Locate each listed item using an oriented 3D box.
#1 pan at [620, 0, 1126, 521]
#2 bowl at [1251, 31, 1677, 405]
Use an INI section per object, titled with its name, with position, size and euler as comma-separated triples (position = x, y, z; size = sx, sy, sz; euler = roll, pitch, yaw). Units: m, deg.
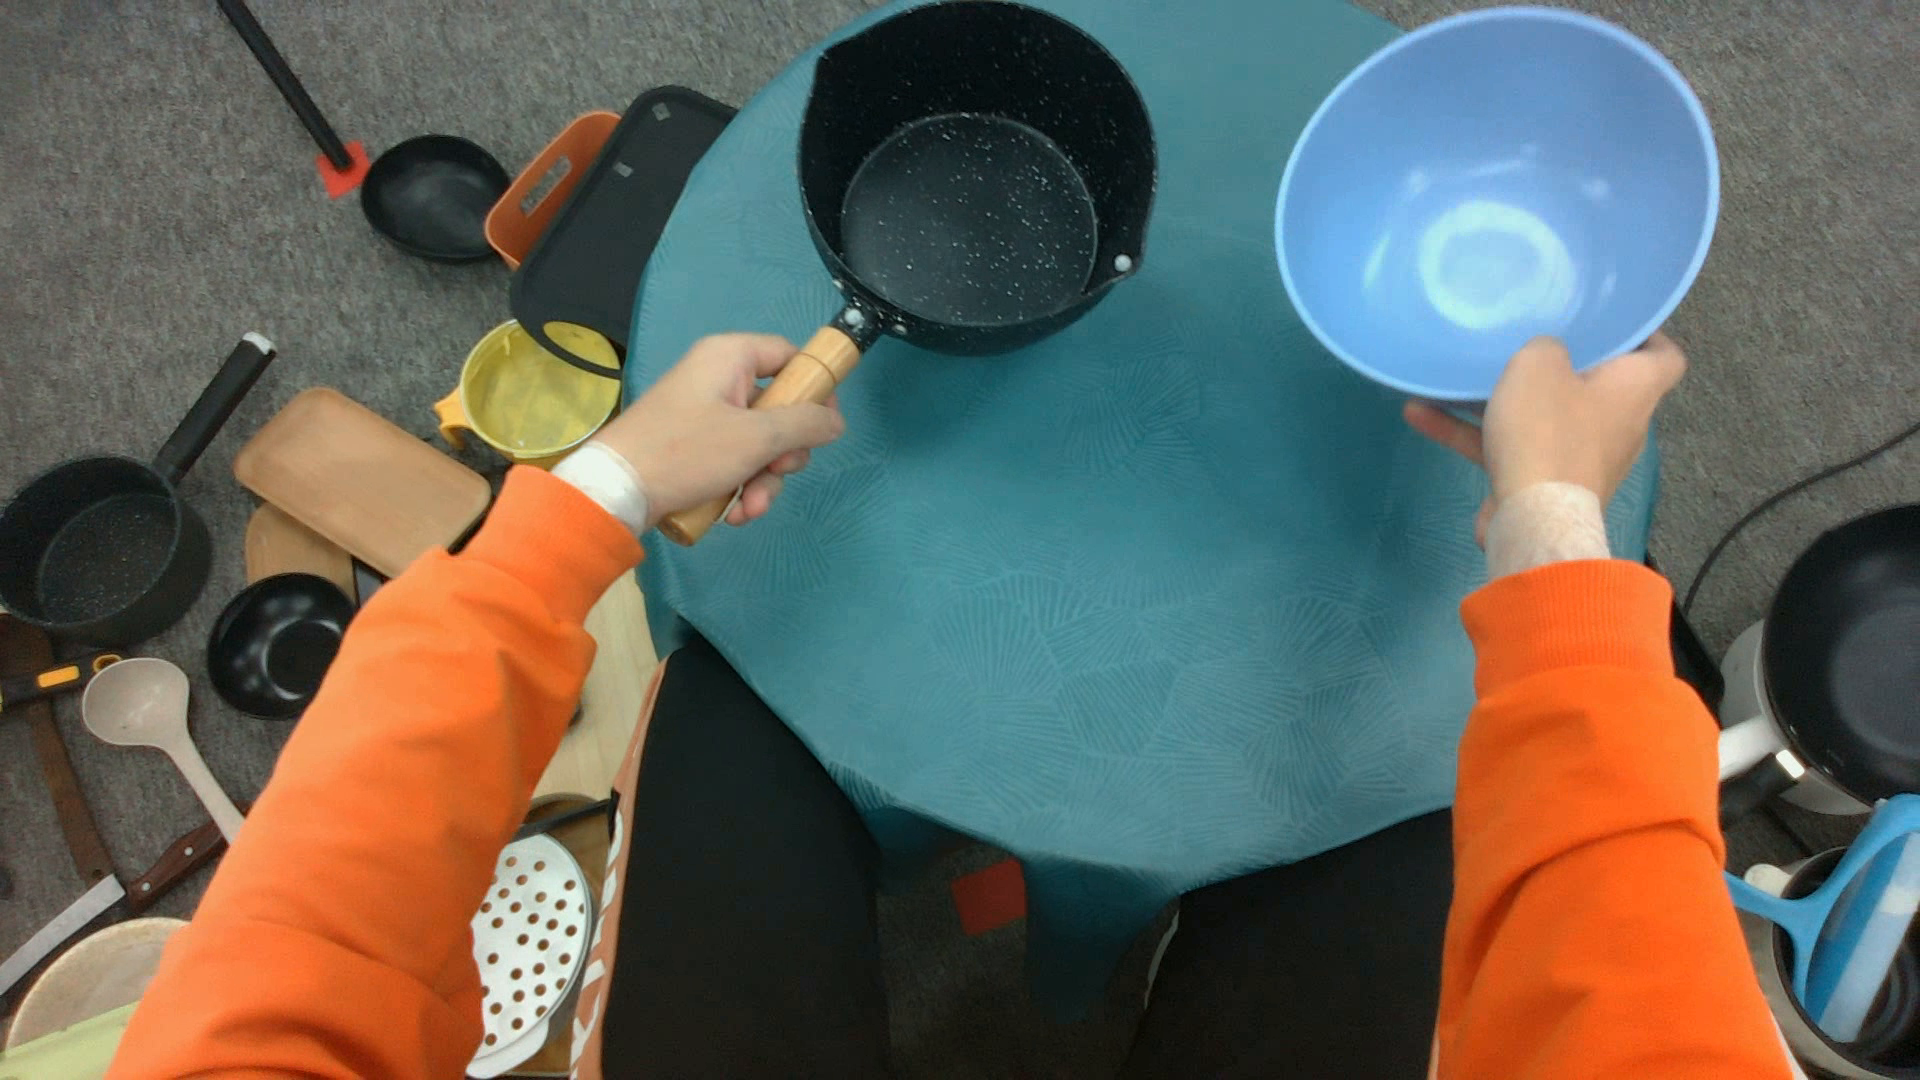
[pan]
position = -0.052, -0.136, 0.710
size = 0.207, 0.108, 0.344
euler = 33, 75, 4
[bowl]
position = 0.253, -0.150, 0.712
size = 0.196, 0.095, 0.197
euler = -5, 72, 15
